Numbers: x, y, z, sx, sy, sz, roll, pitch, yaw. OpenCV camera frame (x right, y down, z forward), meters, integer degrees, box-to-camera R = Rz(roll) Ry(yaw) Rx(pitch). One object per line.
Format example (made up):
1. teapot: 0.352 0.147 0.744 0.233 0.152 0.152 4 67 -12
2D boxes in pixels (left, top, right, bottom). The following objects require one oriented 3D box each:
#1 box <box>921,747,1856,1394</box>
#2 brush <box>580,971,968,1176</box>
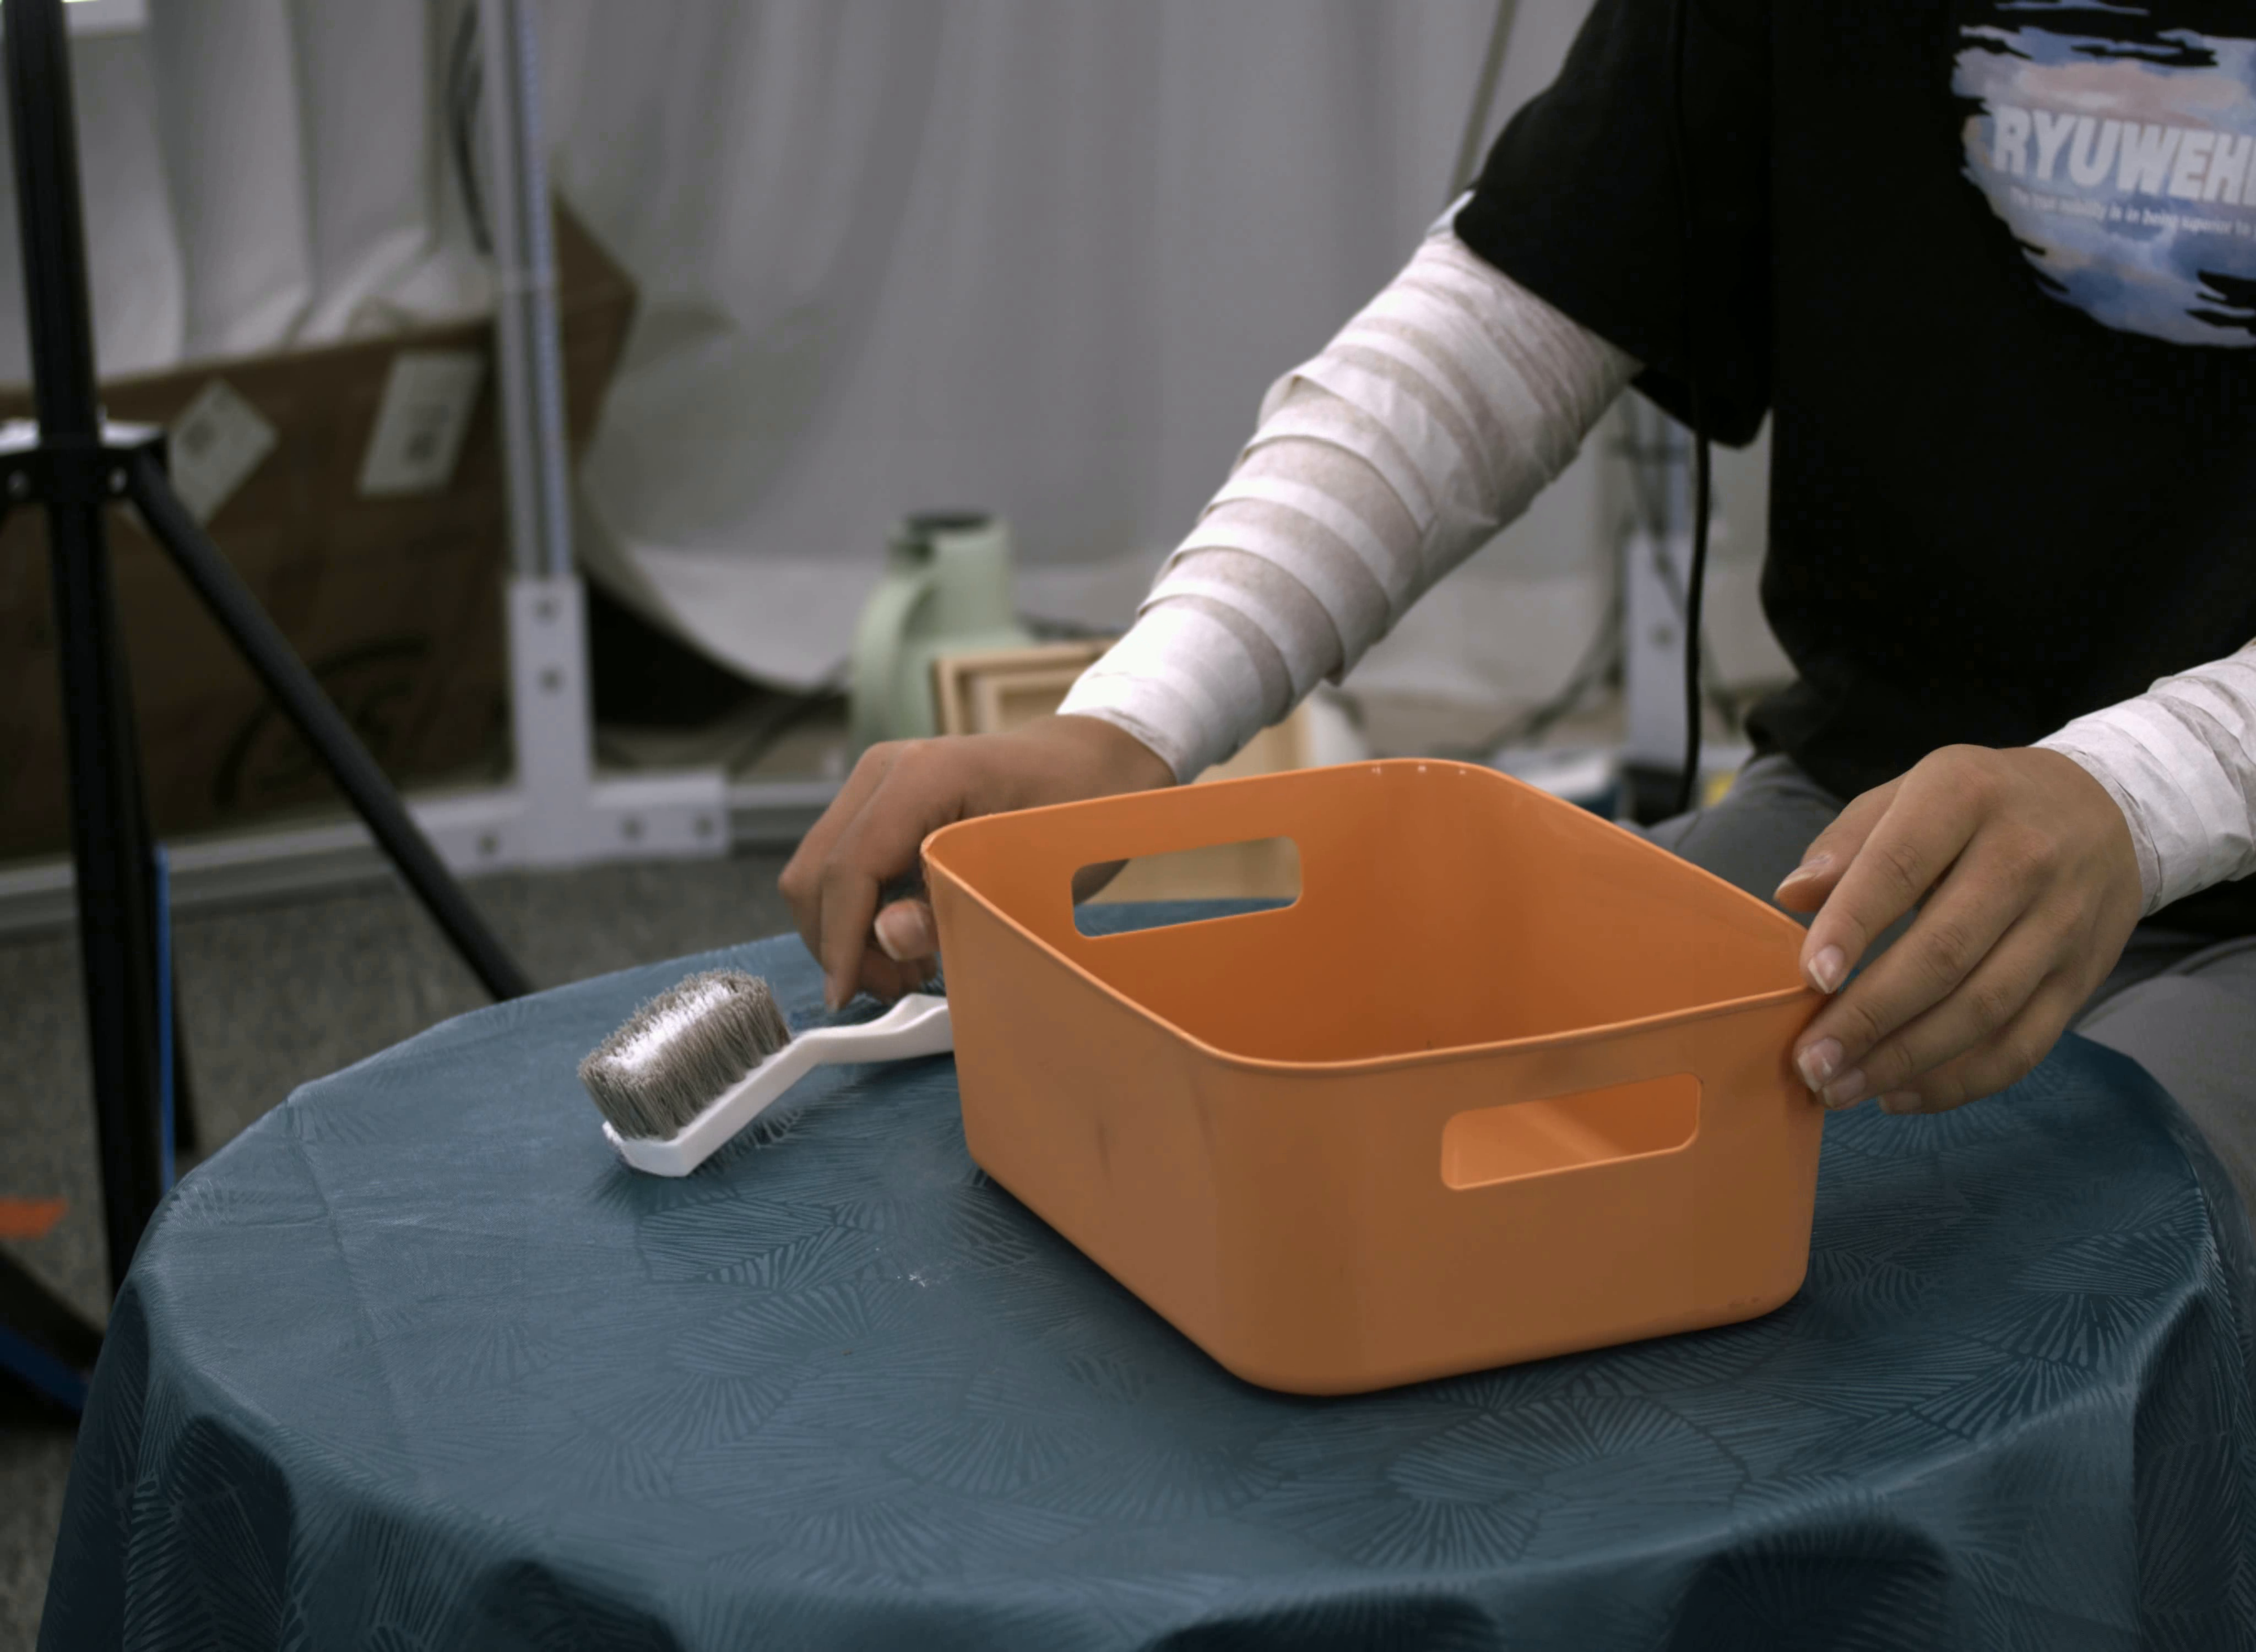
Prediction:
1. box: 0.070 0.065 1.503 0.196 0.102 0.278 -9 17 -21
2. brush: -0.076 0.055 1.668 0.035 0.050 0.238 12 22 40
